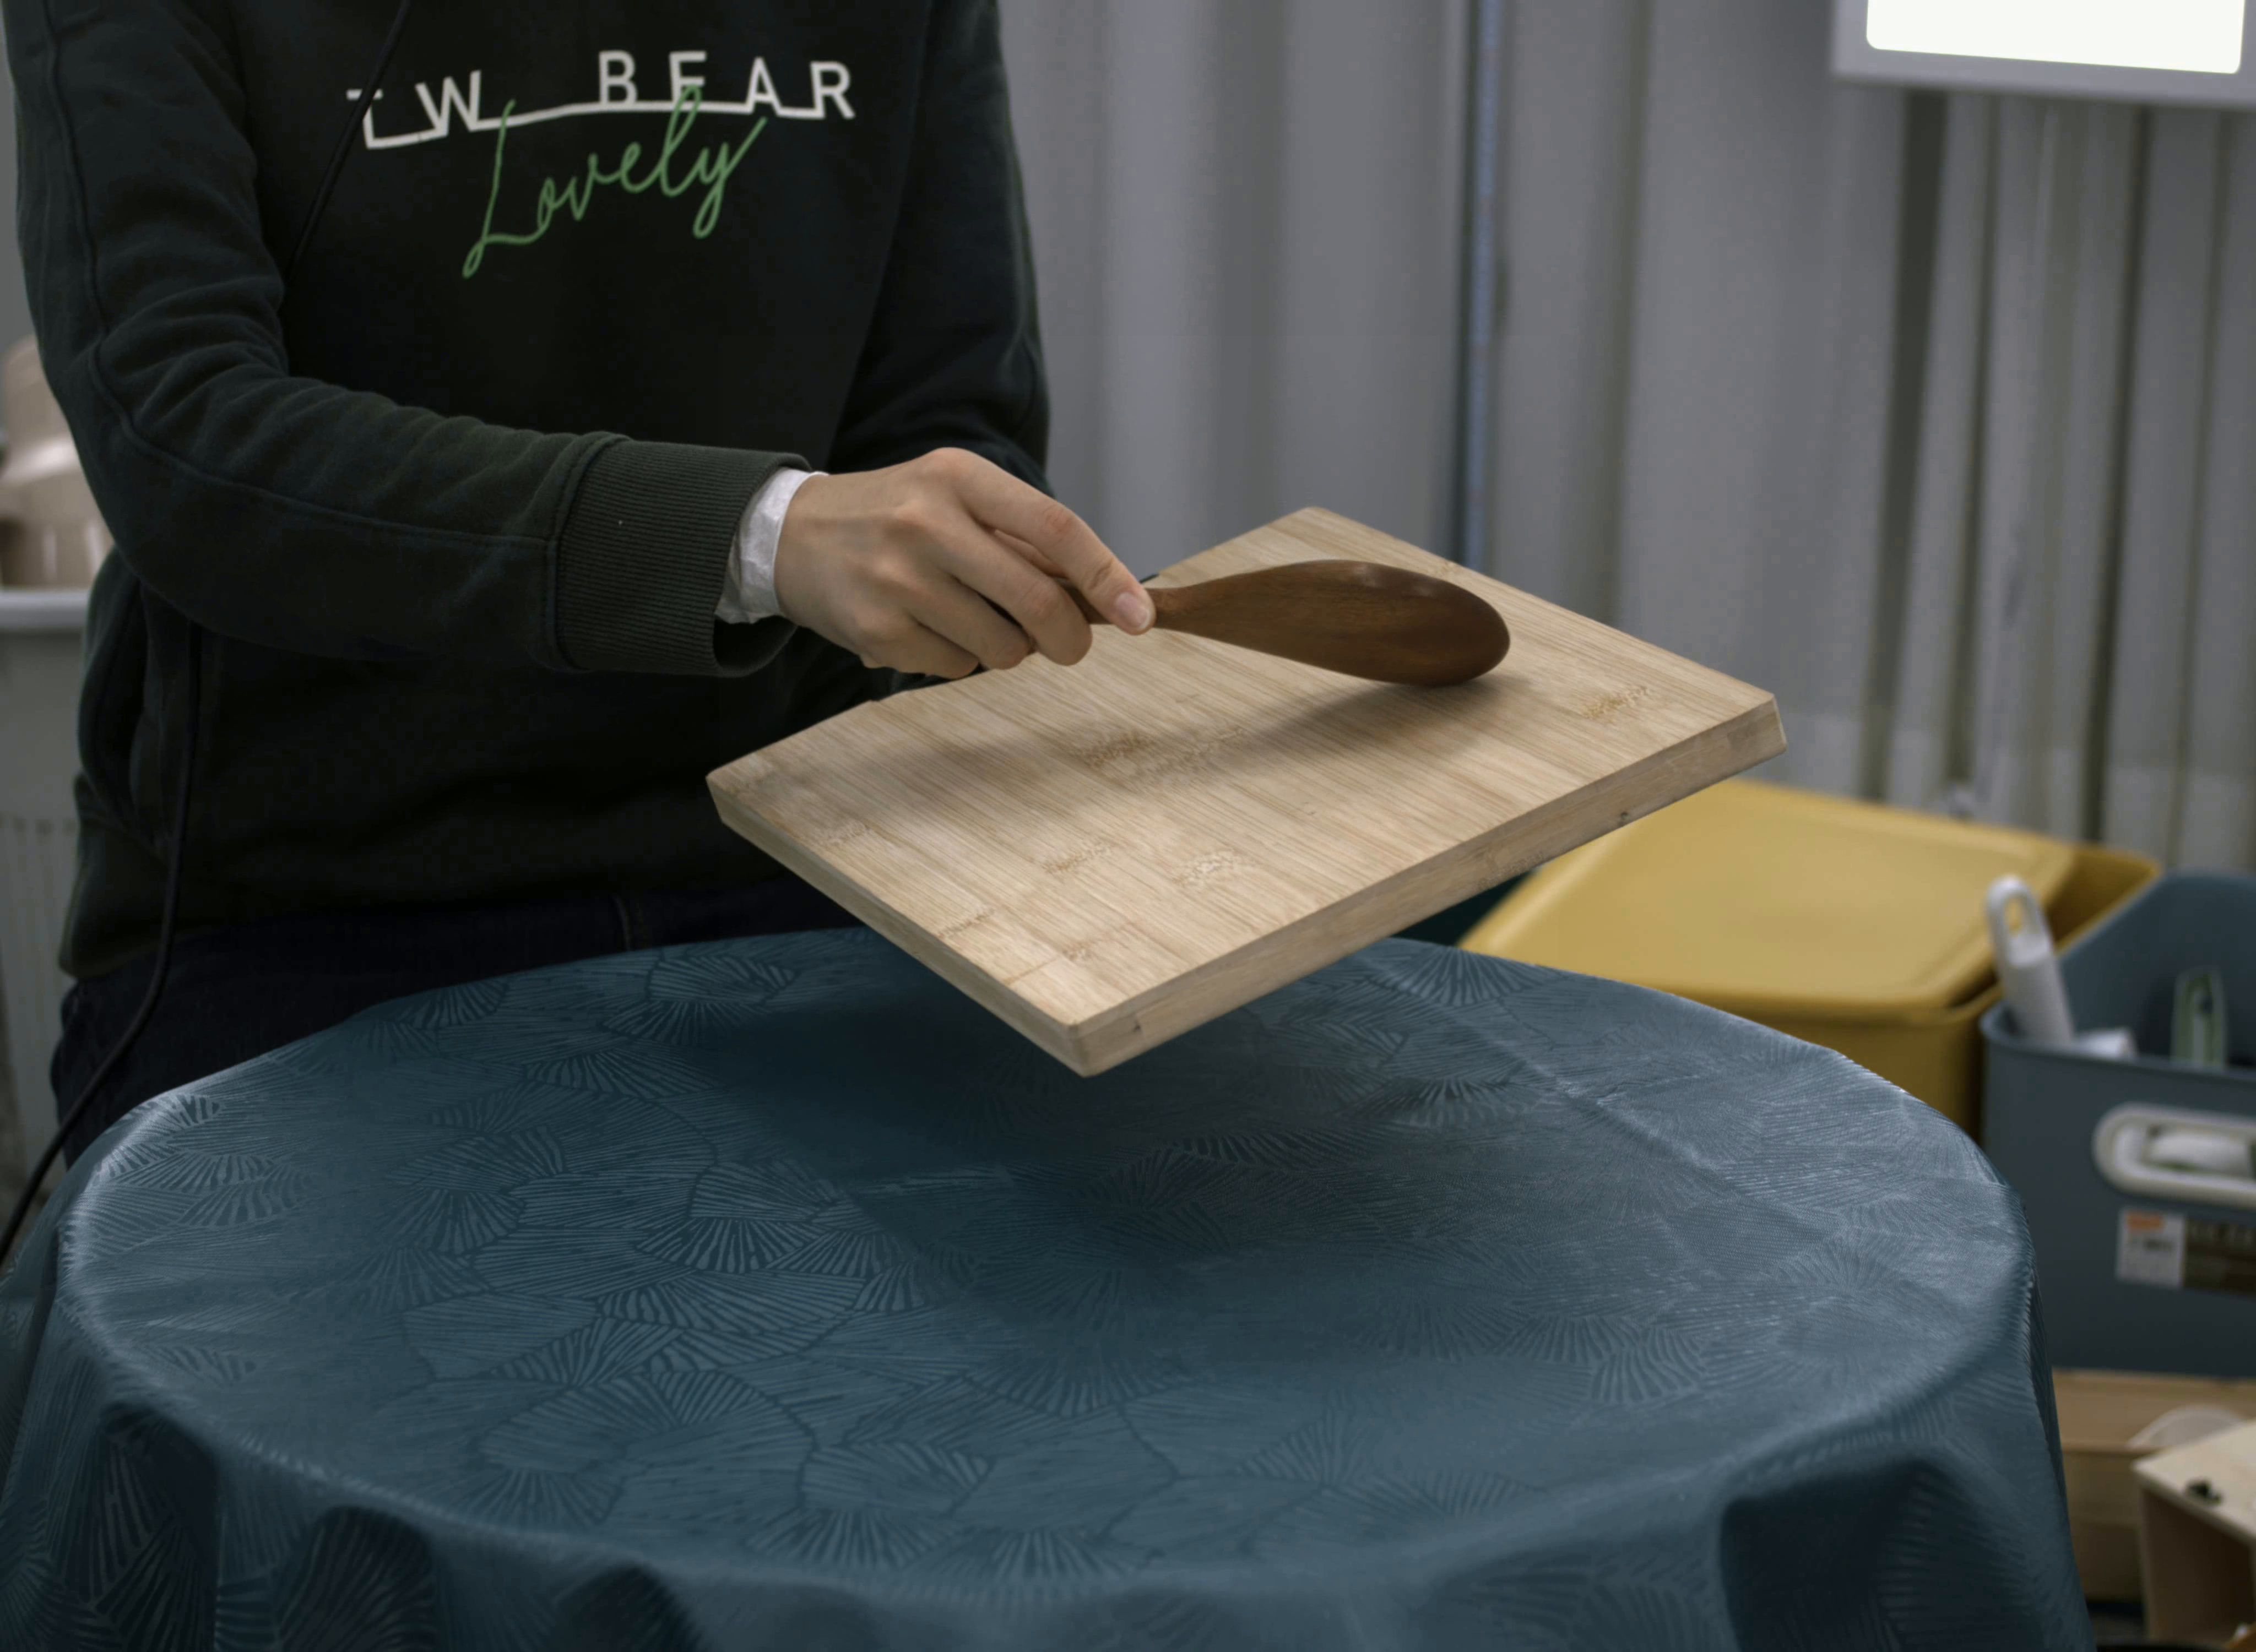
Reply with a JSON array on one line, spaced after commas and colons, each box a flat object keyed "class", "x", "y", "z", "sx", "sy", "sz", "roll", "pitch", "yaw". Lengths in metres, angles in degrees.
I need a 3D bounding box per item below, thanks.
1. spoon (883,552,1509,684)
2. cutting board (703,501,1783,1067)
[{"class": "spoon", "x": 0.018, "y": -0.067, "z": 1.657, "sx": 0.213, "sy": 0.017, "sz": 0.076, "roll": 7, "pitch": -17, "yaw": 26}, {"class": "cutting board", "x": 0.025, "y": -0.022, "z": 1.683, "sx": 0.251, "sy": 0.024, "sz": 0.344, "roll": -24, "pitch": 21, "yaw": -17}]
